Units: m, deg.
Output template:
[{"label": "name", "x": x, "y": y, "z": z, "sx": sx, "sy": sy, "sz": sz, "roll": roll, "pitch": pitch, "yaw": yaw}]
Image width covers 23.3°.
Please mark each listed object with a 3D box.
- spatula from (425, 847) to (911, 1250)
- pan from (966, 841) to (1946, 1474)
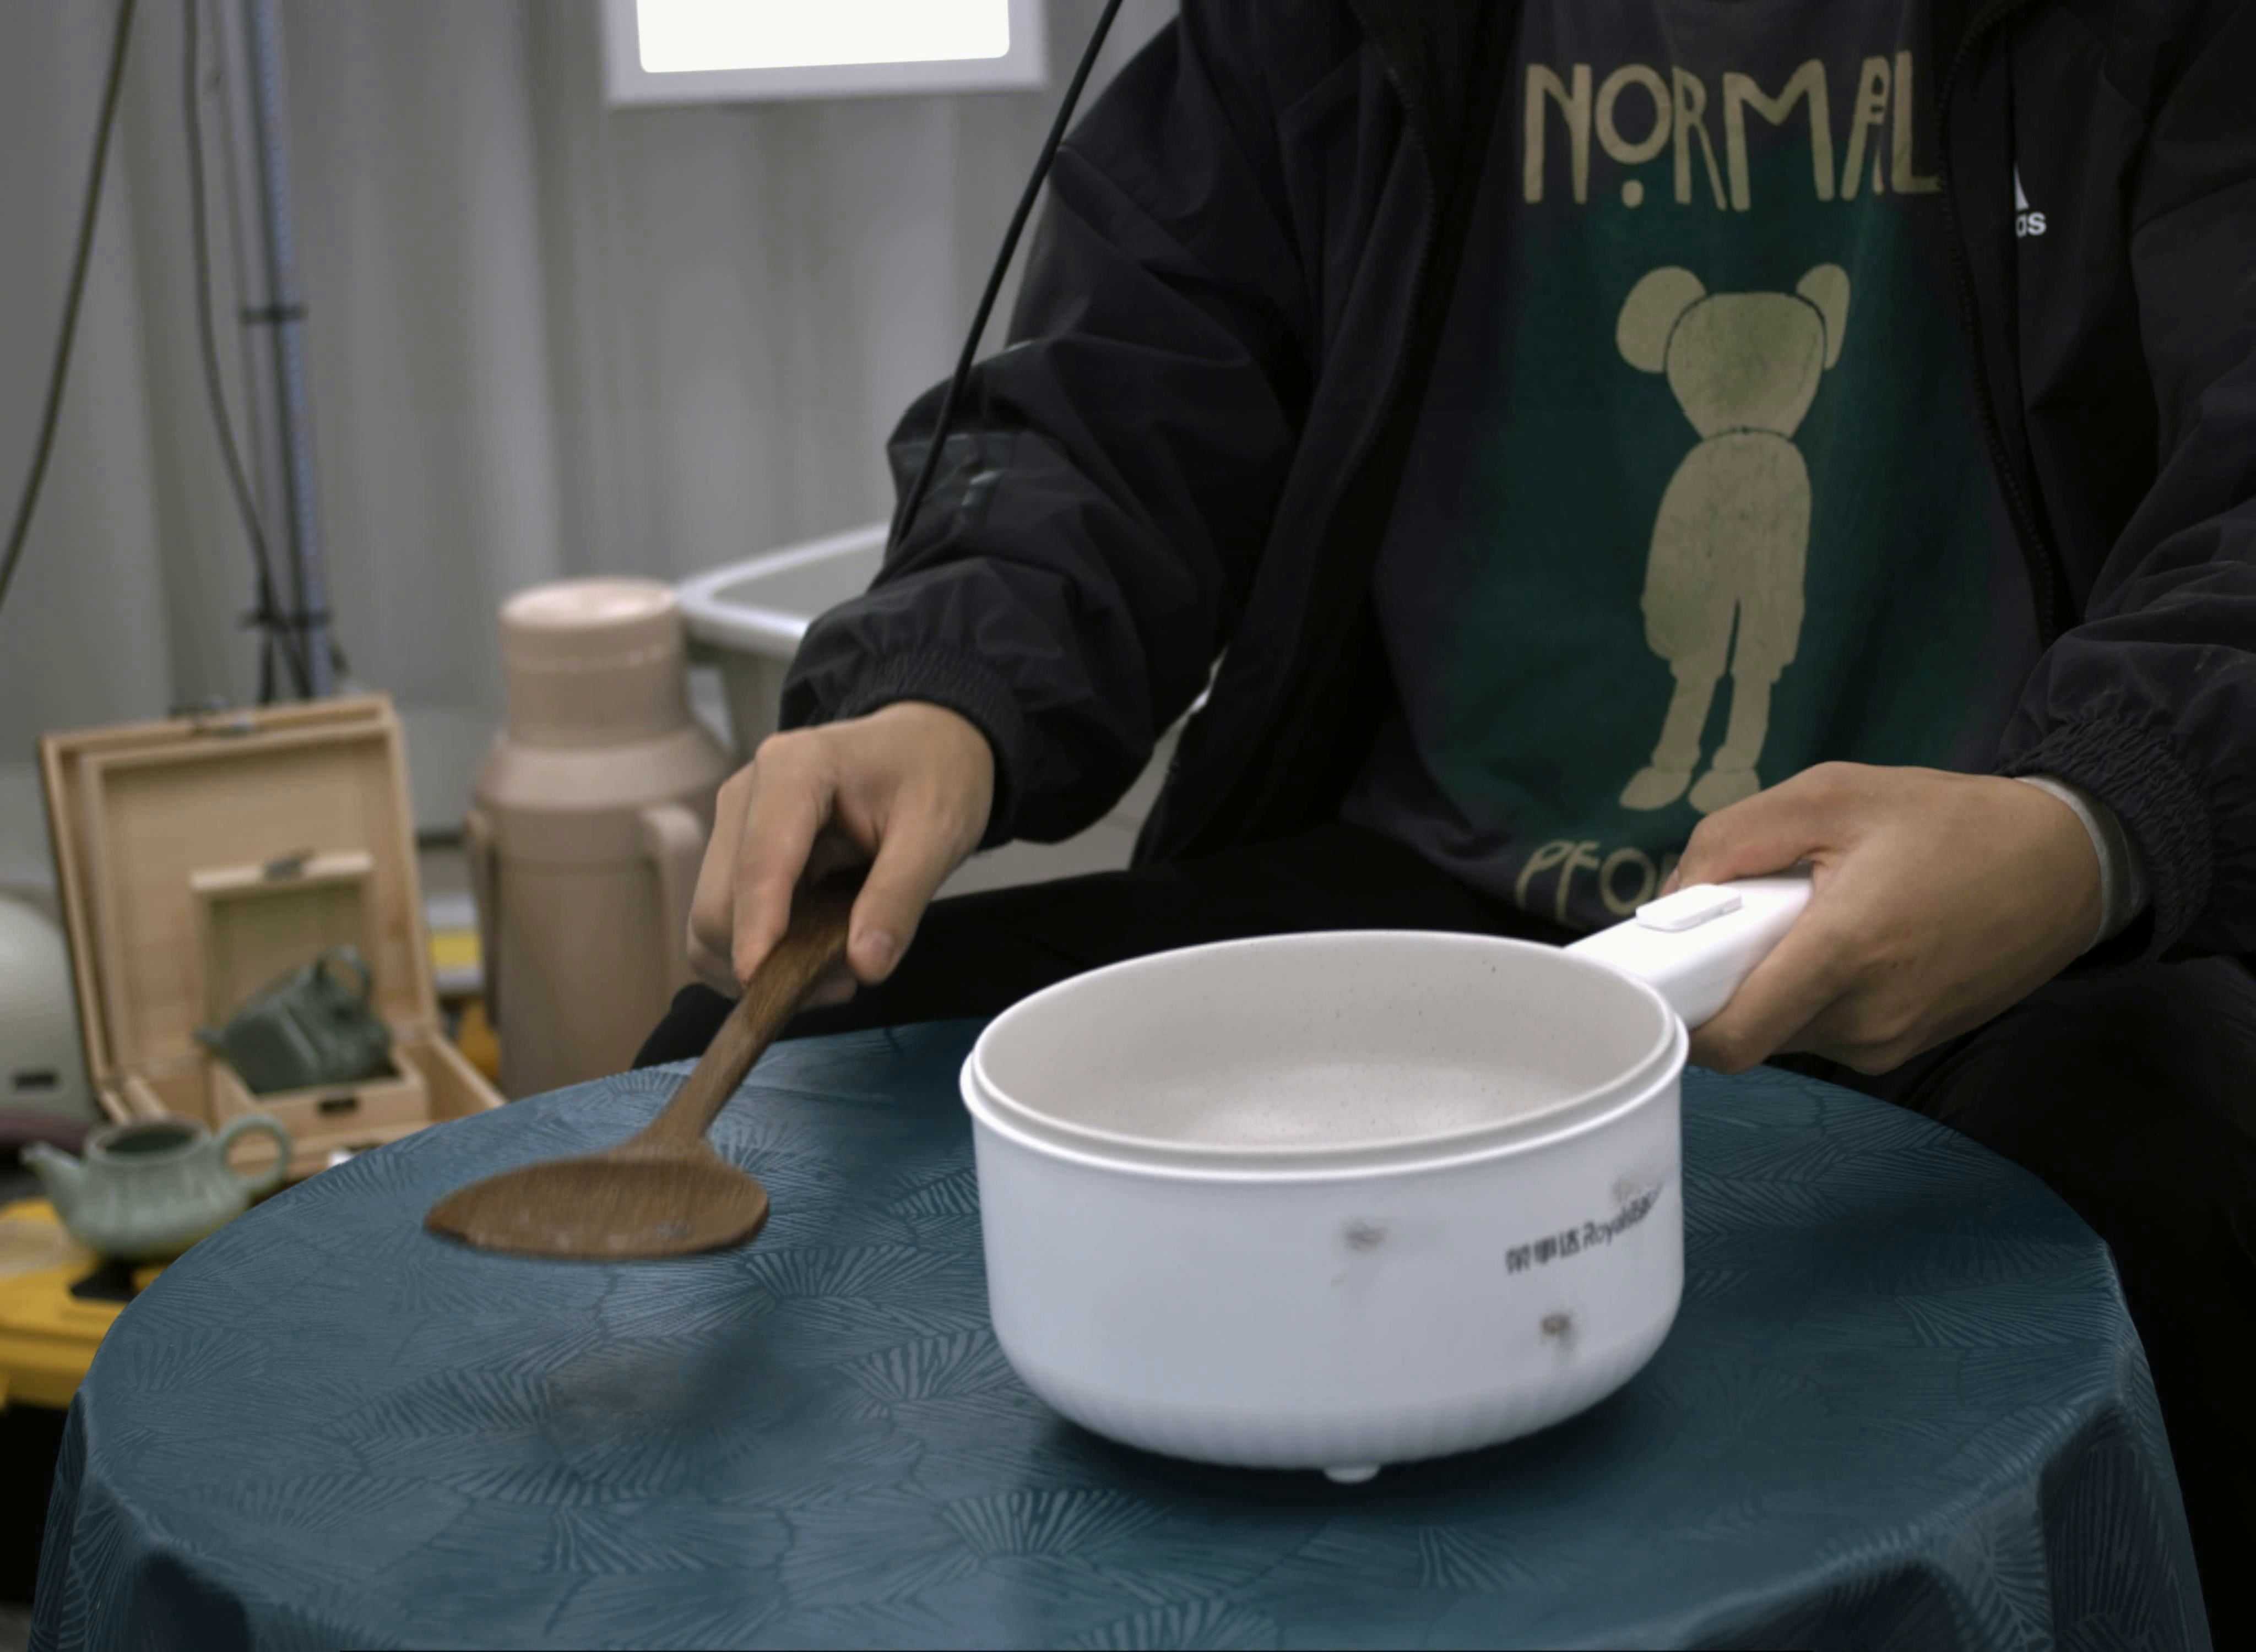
[{"label": "spatula", "x": -0.120, "y": 0.062, "z": 1.693, "sx": 0.096, "sy": 0.016, "sz": 0.388, "roll": 2, "pitch": 17, "yaw": 10}, {"label": "pan", "x": 0.111, "y": 0.088, "z": 1.566, "sx": 0.202, "sy": 0.102, "sz": 0.354, "roll": 10, "pitch": 19, "yaw": 44}]
